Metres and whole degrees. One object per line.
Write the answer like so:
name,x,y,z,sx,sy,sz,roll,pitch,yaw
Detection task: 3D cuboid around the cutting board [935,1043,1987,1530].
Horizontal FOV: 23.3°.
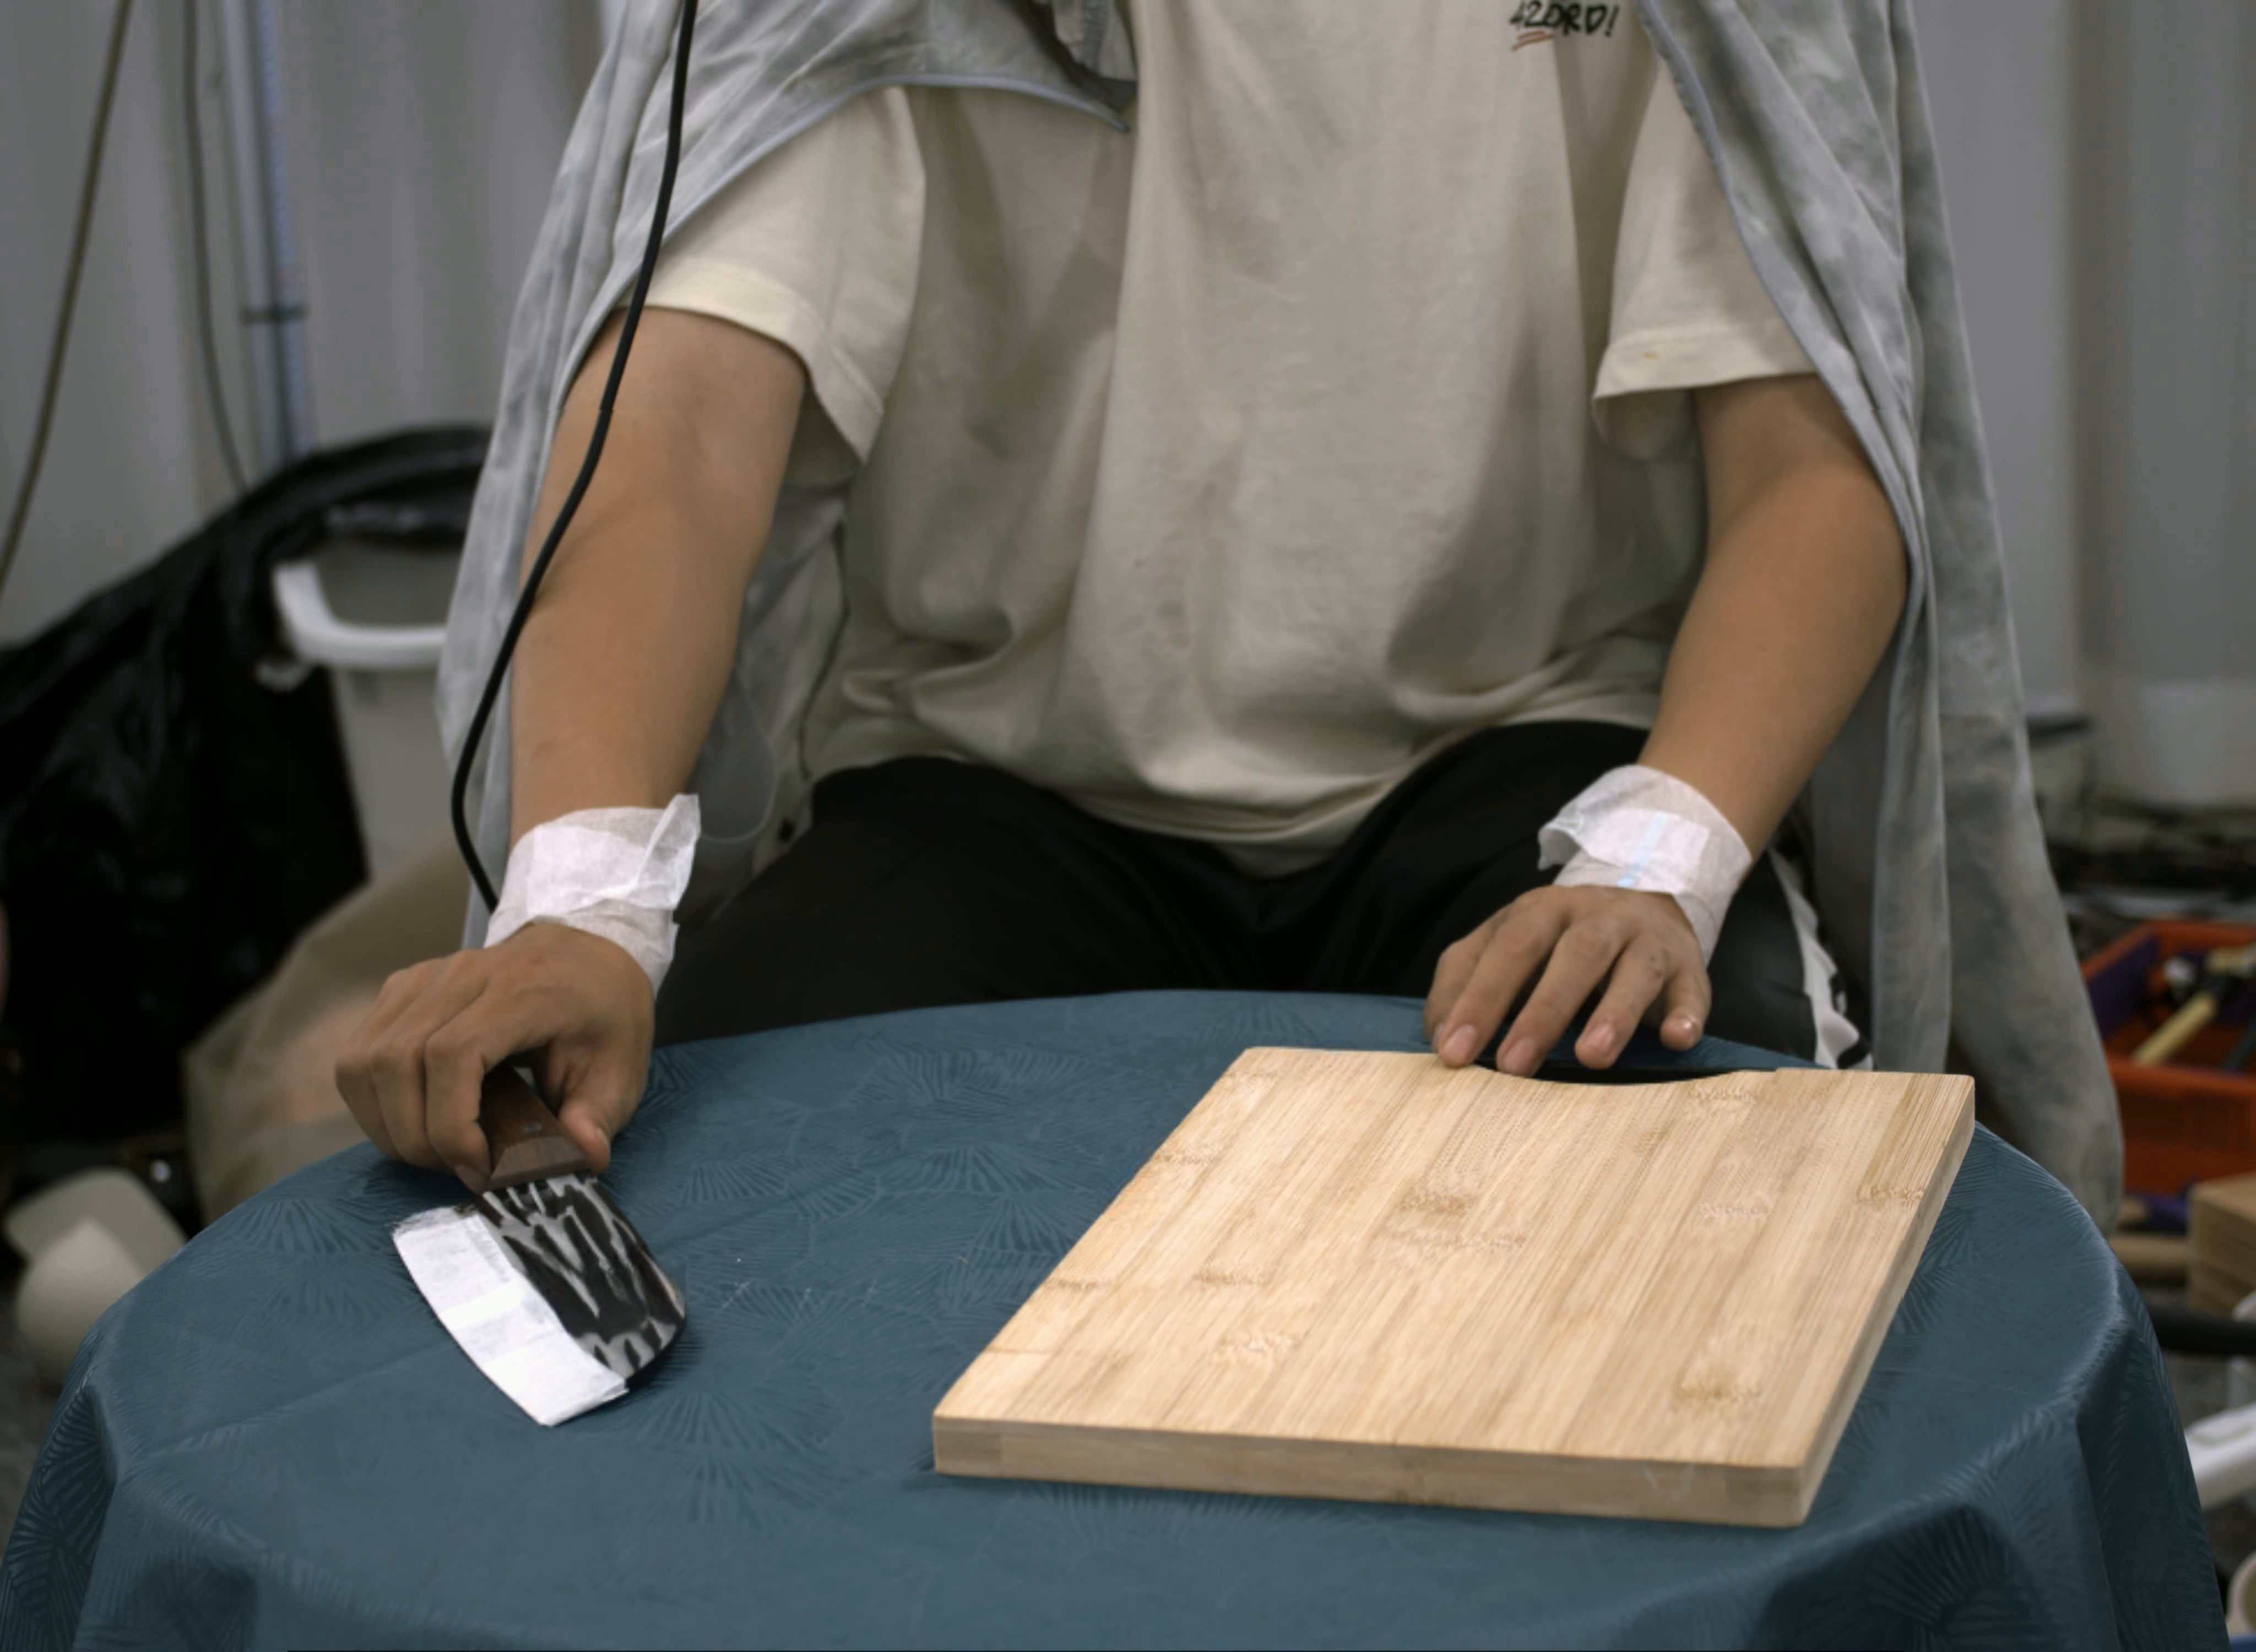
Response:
cutting board,0.109,0.128,1.618,0.250,0.023,0.350,2,15,15

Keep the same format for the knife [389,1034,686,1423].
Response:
knife,-0.190,0.123,1.685,0.068,0.024,0.302,-14,19,-15
